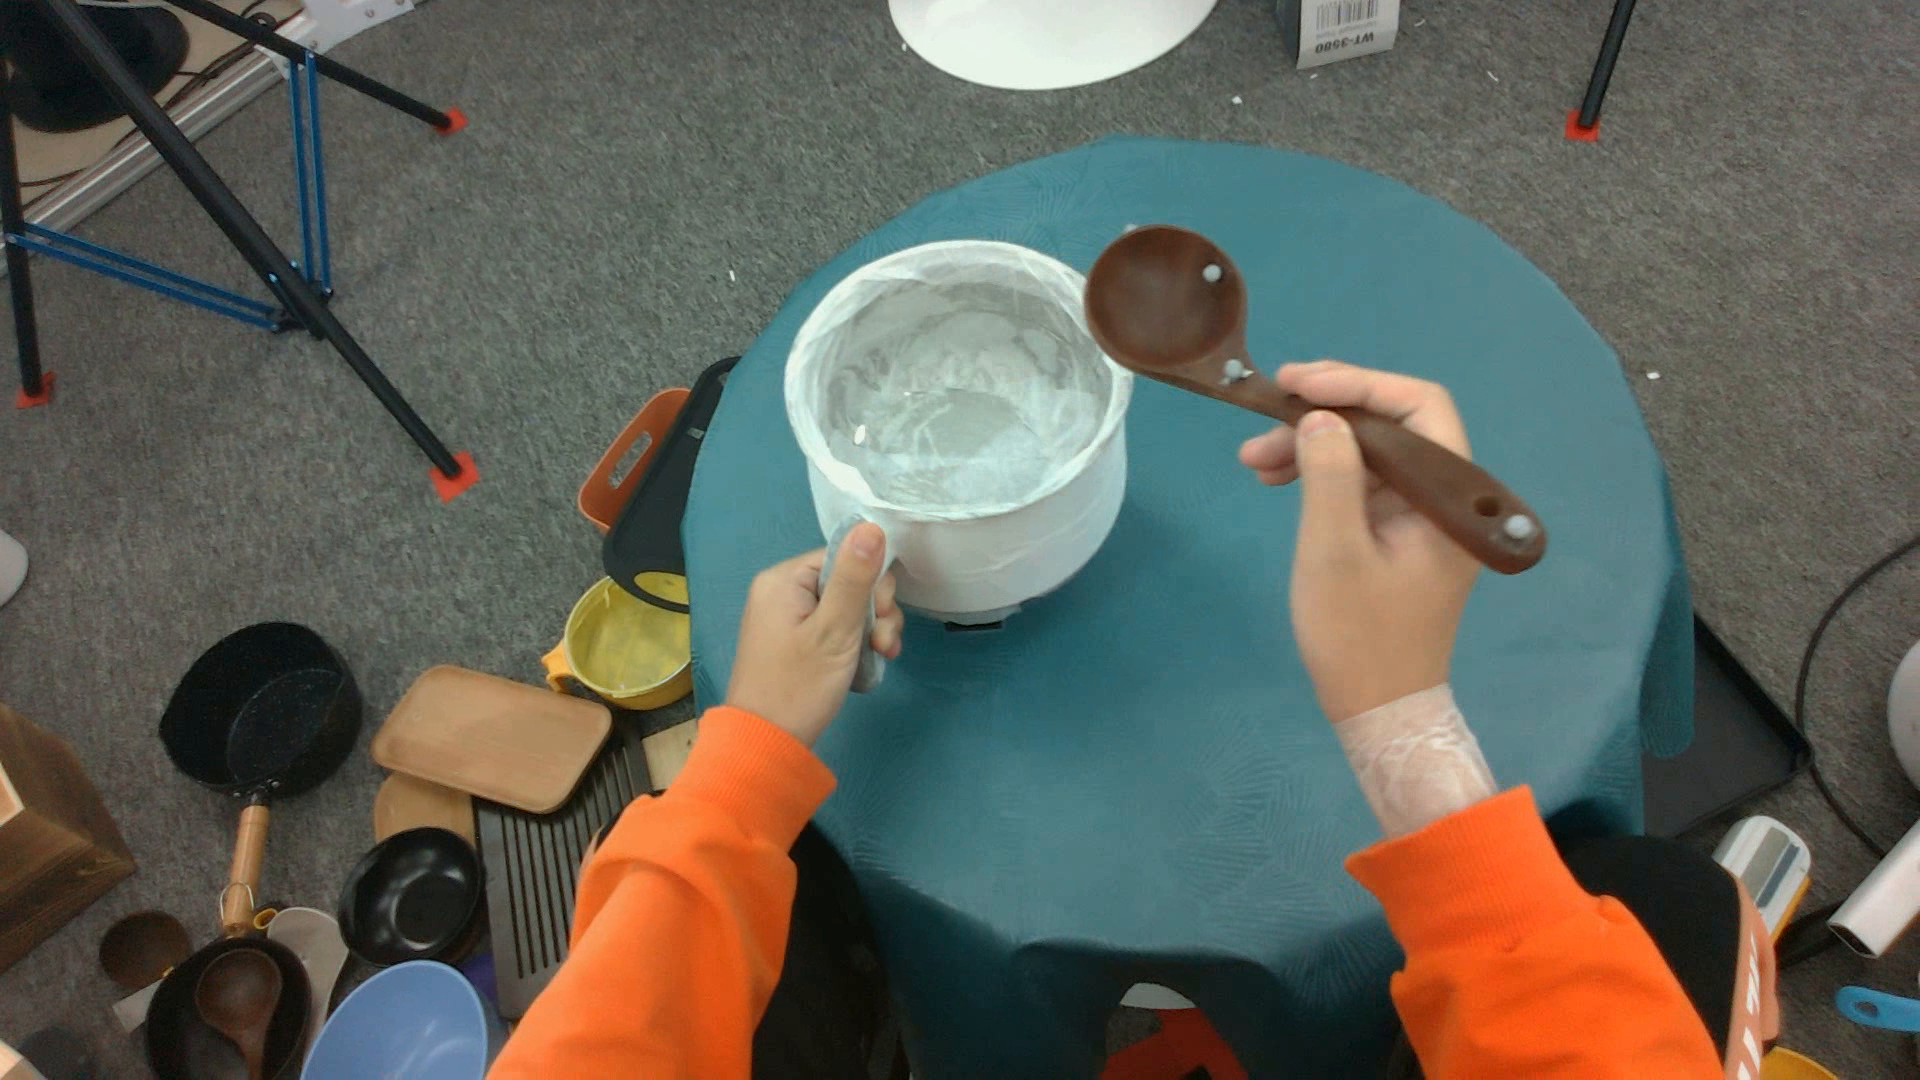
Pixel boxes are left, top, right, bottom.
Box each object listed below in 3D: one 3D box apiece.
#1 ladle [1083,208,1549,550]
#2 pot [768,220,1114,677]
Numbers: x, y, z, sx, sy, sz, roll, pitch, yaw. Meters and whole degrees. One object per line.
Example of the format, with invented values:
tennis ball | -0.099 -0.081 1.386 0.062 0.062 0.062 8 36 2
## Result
ladle | 0.135 -0.075 0.566 0.076 0.065 0.260 -35 35 -6
pot | -0.018 -0.042 0.741 0.178 0.136 0.234 21 64 16
